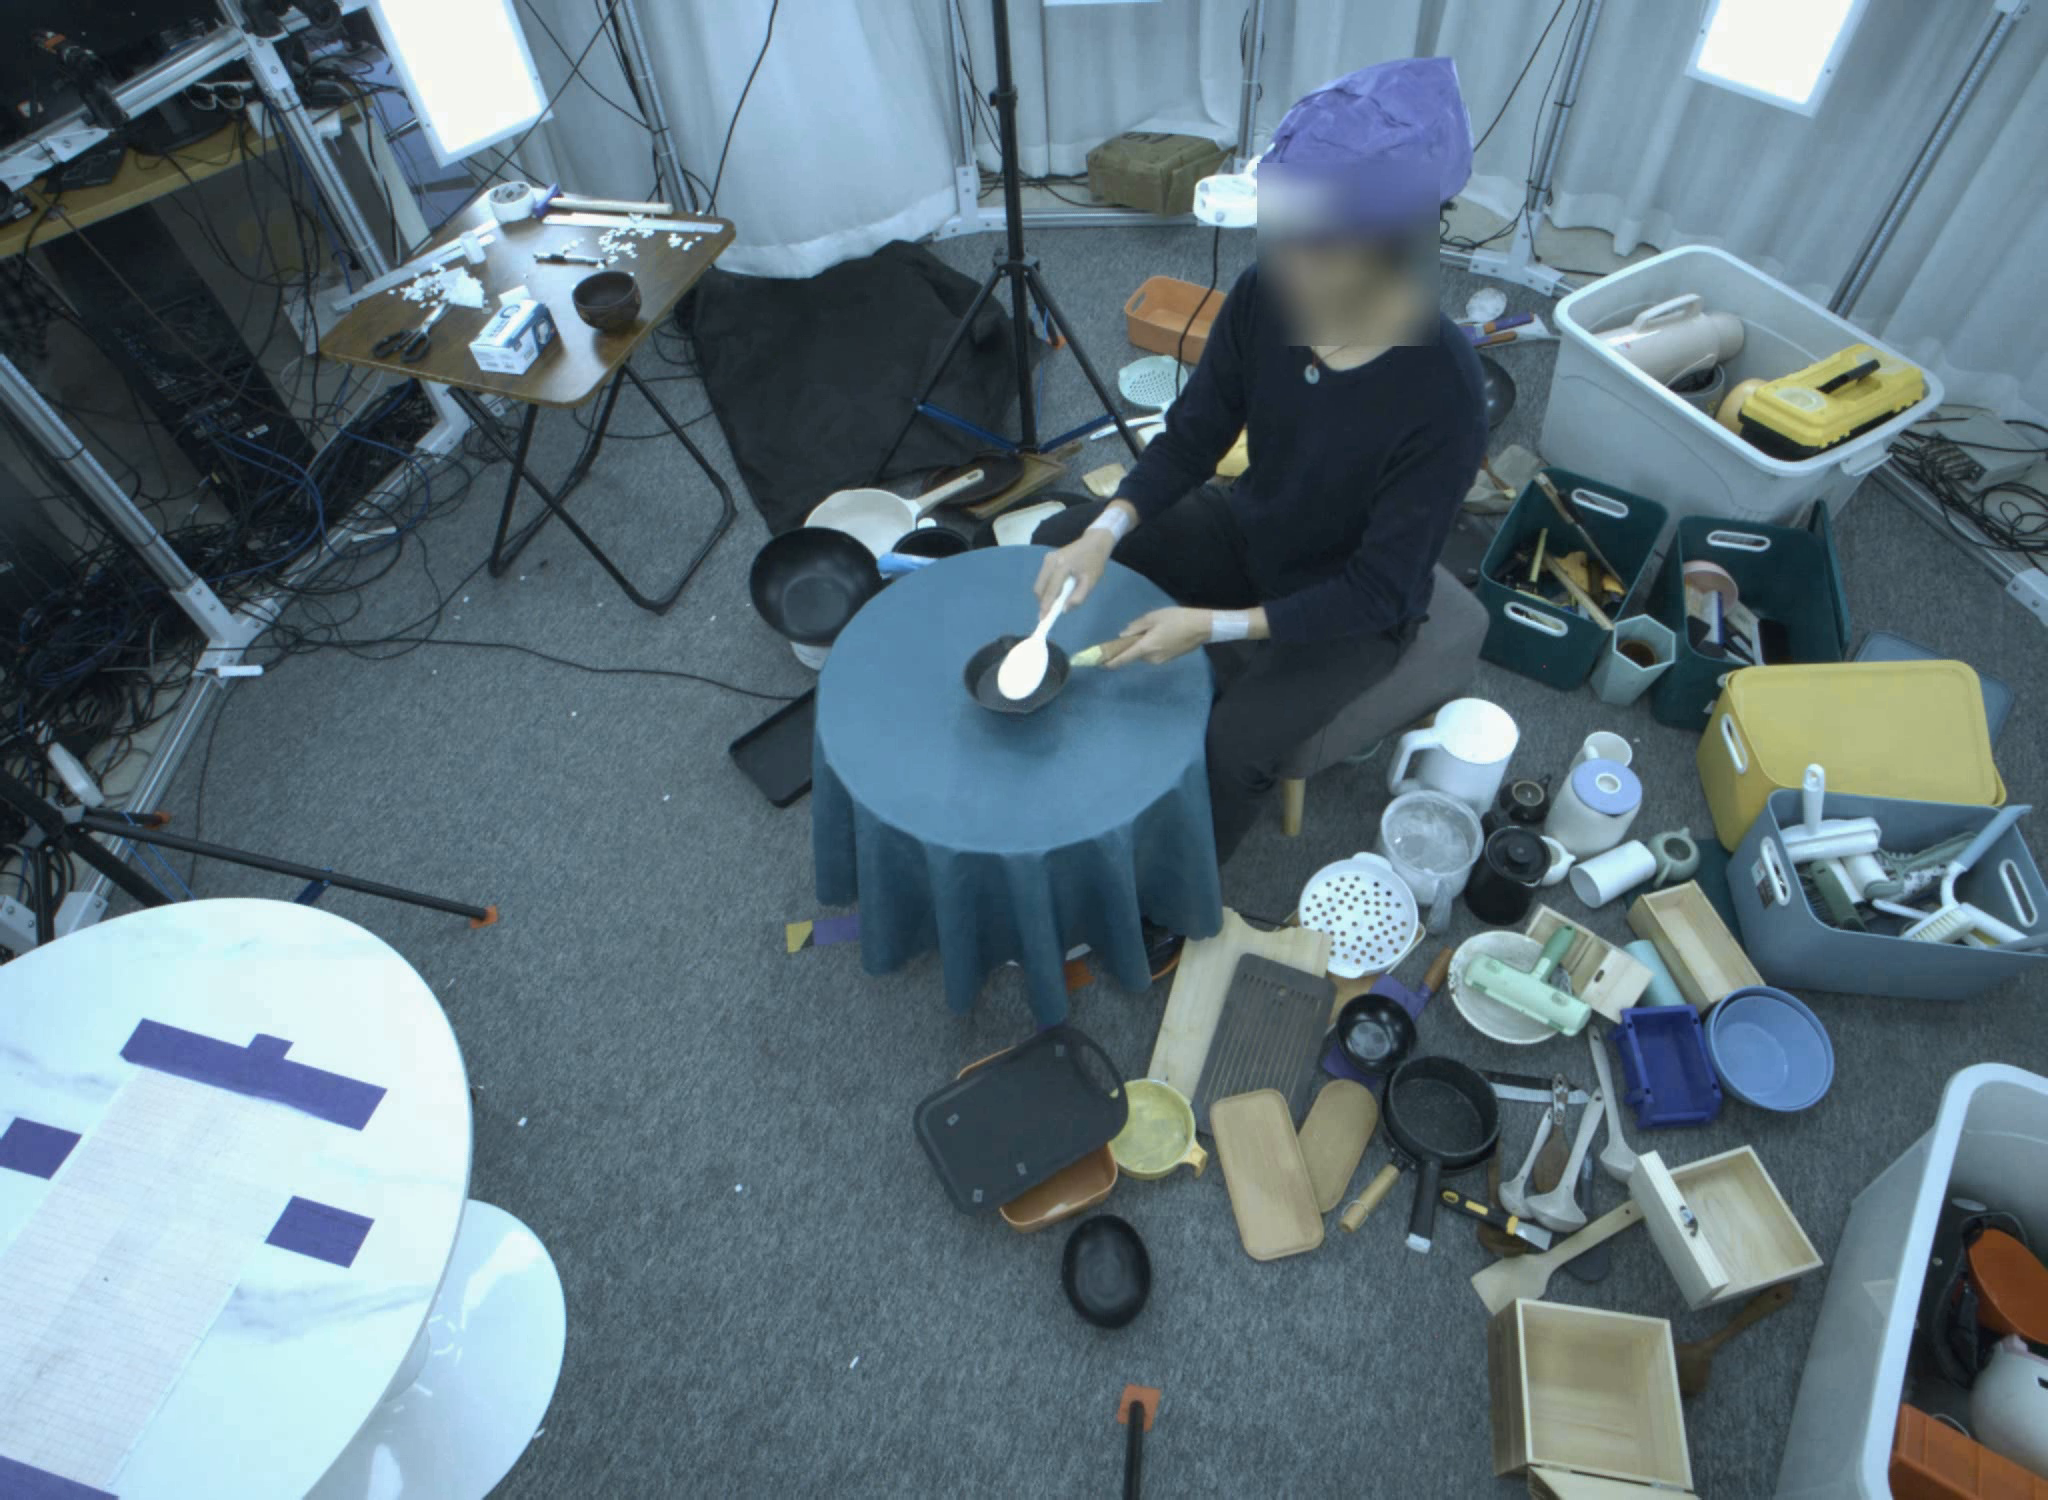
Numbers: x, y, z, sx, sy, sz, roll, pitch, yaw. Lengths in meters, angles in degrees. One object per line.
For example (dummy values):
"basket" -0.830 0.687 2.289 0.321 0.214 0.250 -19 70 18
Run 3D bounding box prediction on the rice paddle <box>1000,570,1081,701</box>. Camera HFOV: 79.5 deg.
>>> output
"rice paddle" 0.024 -0.164 1.768 0.067 0.030 0.205 22 82 26

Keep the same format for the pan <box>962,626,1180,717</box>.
"pan" 0.070 -0.127 1.789 0.325 0.050 0.166 -12 48 -2
